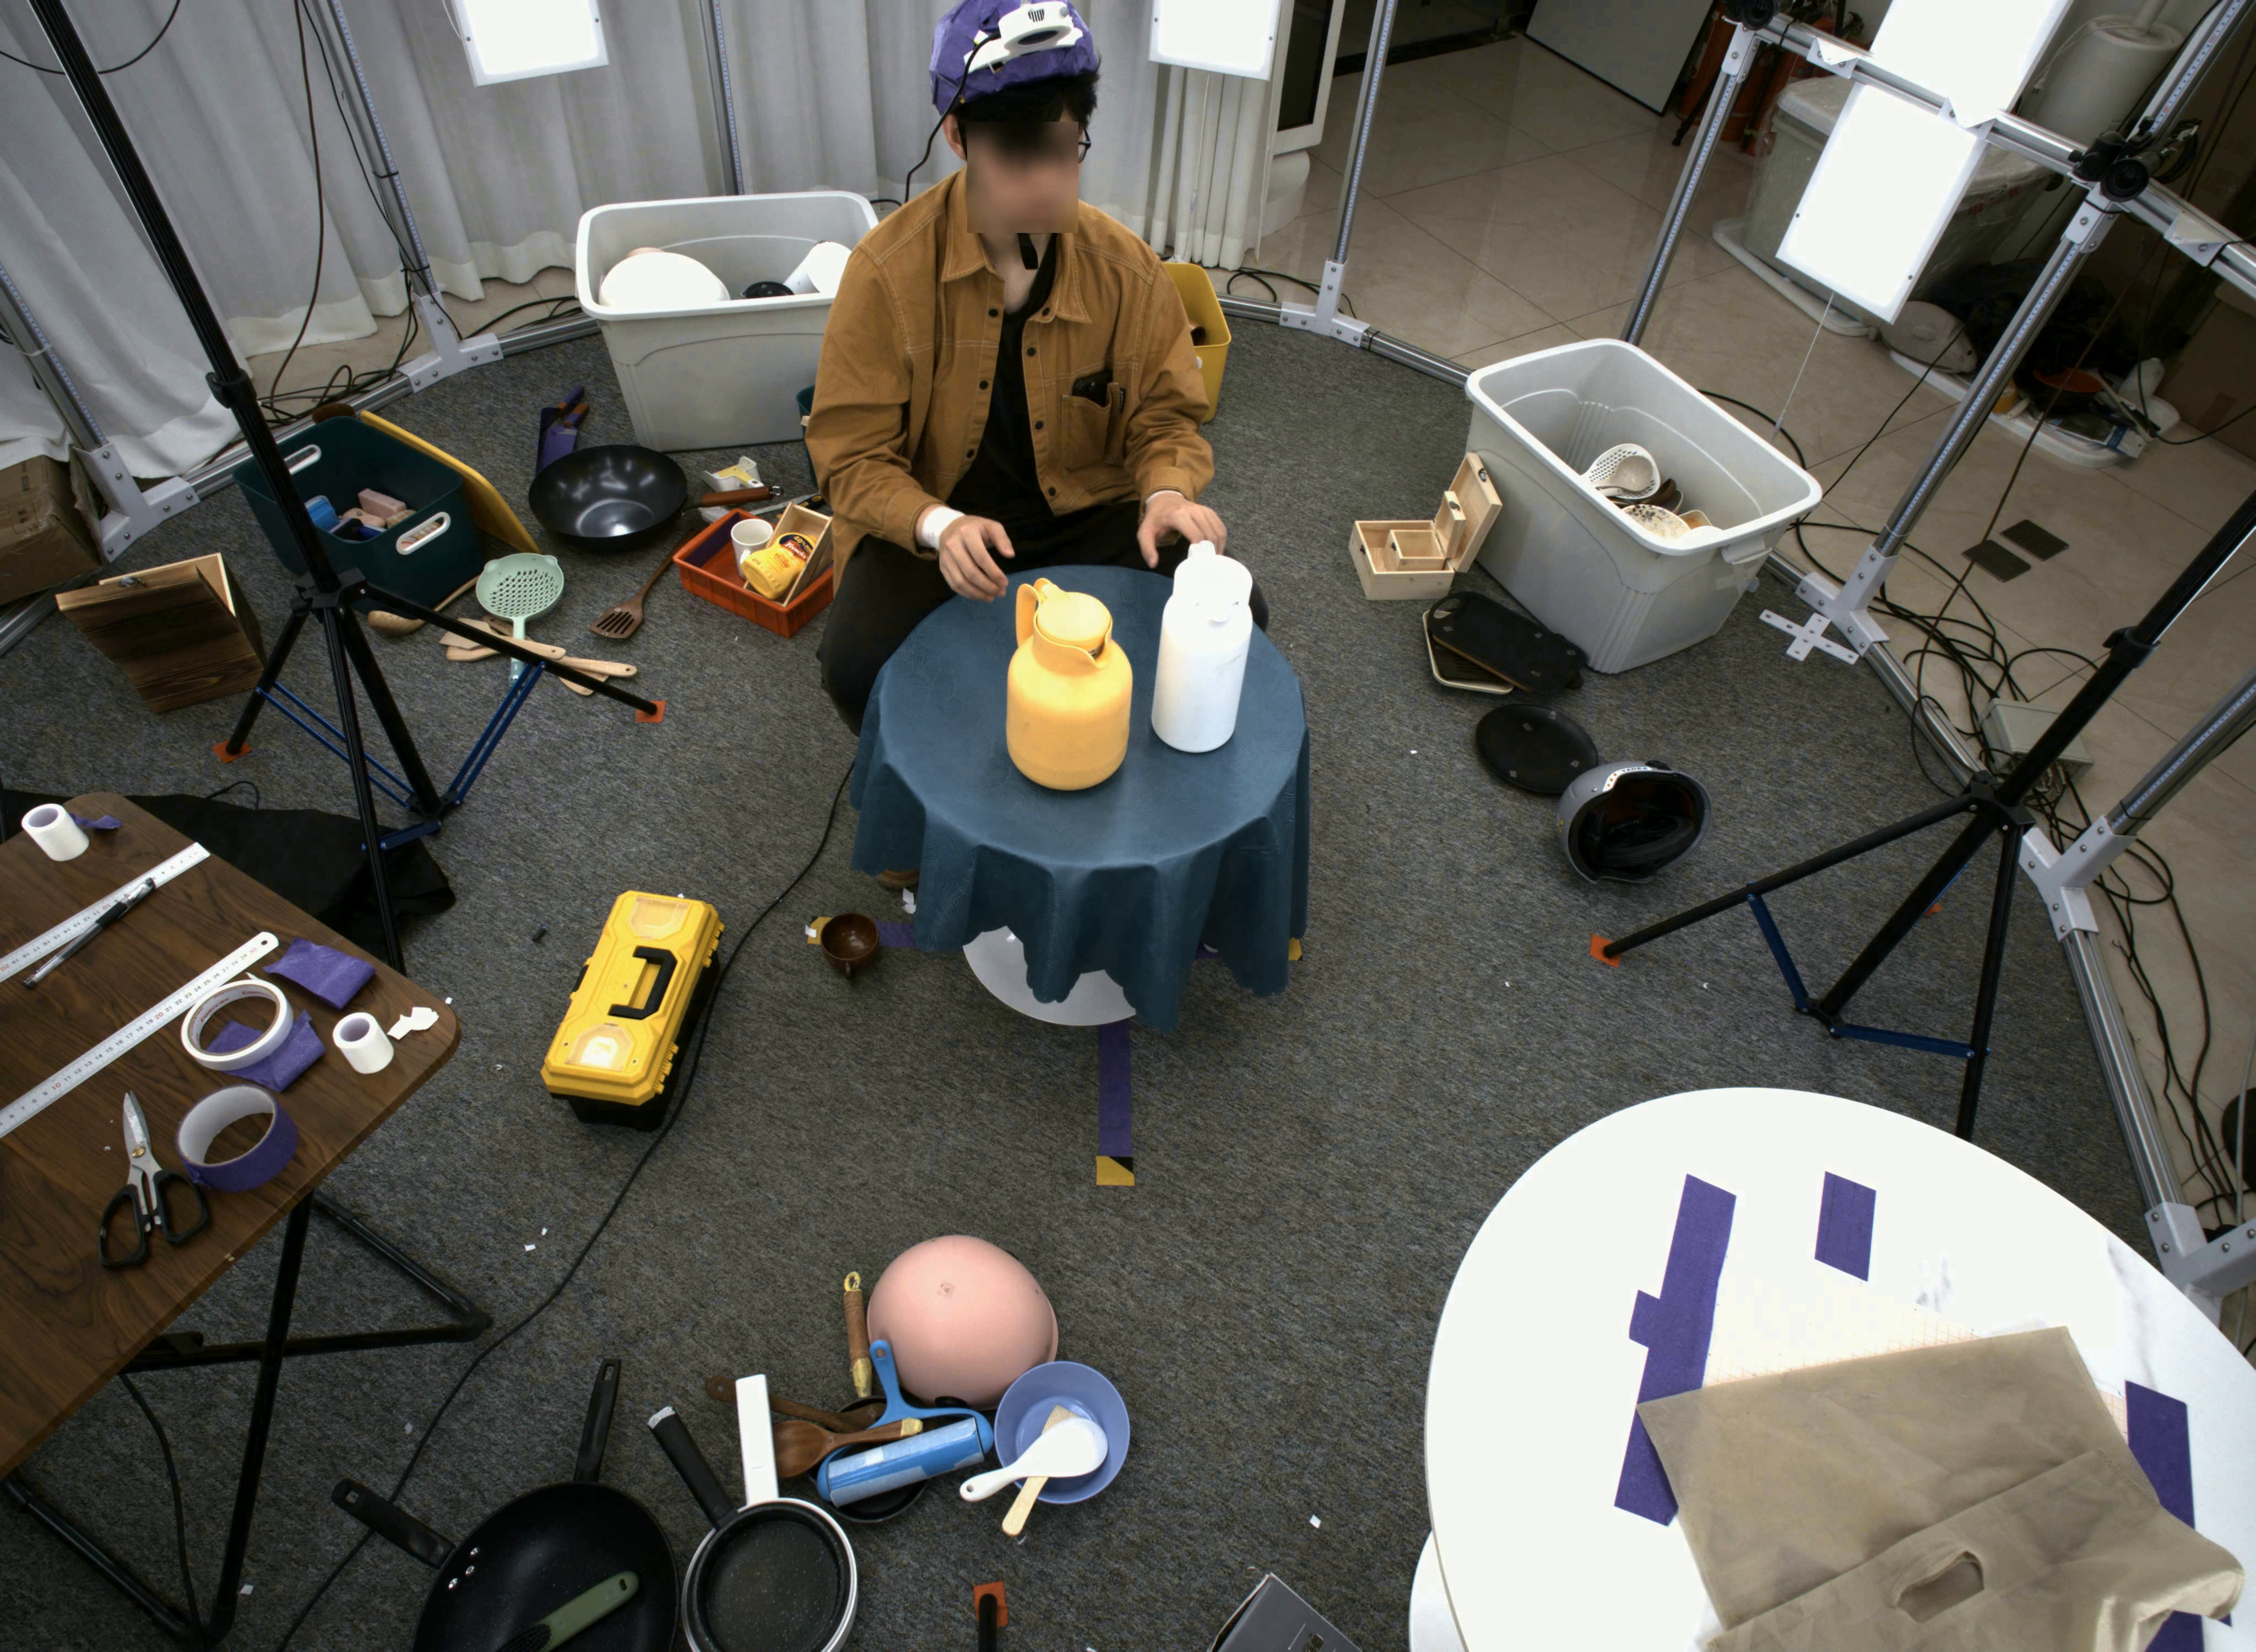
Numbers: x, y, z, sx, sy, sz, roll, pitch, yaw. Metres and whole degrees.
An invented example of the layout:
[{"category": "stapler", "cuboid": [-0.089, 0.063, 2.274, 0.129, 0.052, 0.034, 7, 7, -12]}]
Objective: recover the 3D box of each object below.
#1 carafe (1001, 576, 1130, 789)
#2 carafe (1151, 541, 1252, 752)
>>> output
[{"category": "carafe", "cuboid": [-0.087, -0.193, 1.660, 0.164, 0.254, 0.207, -19, 55, -23]}, {"category": "carafe", "cuboid": [0.094, -0.240, 1.711, 0.124, 0.262, 0.177, -4, 50, -5]}]
